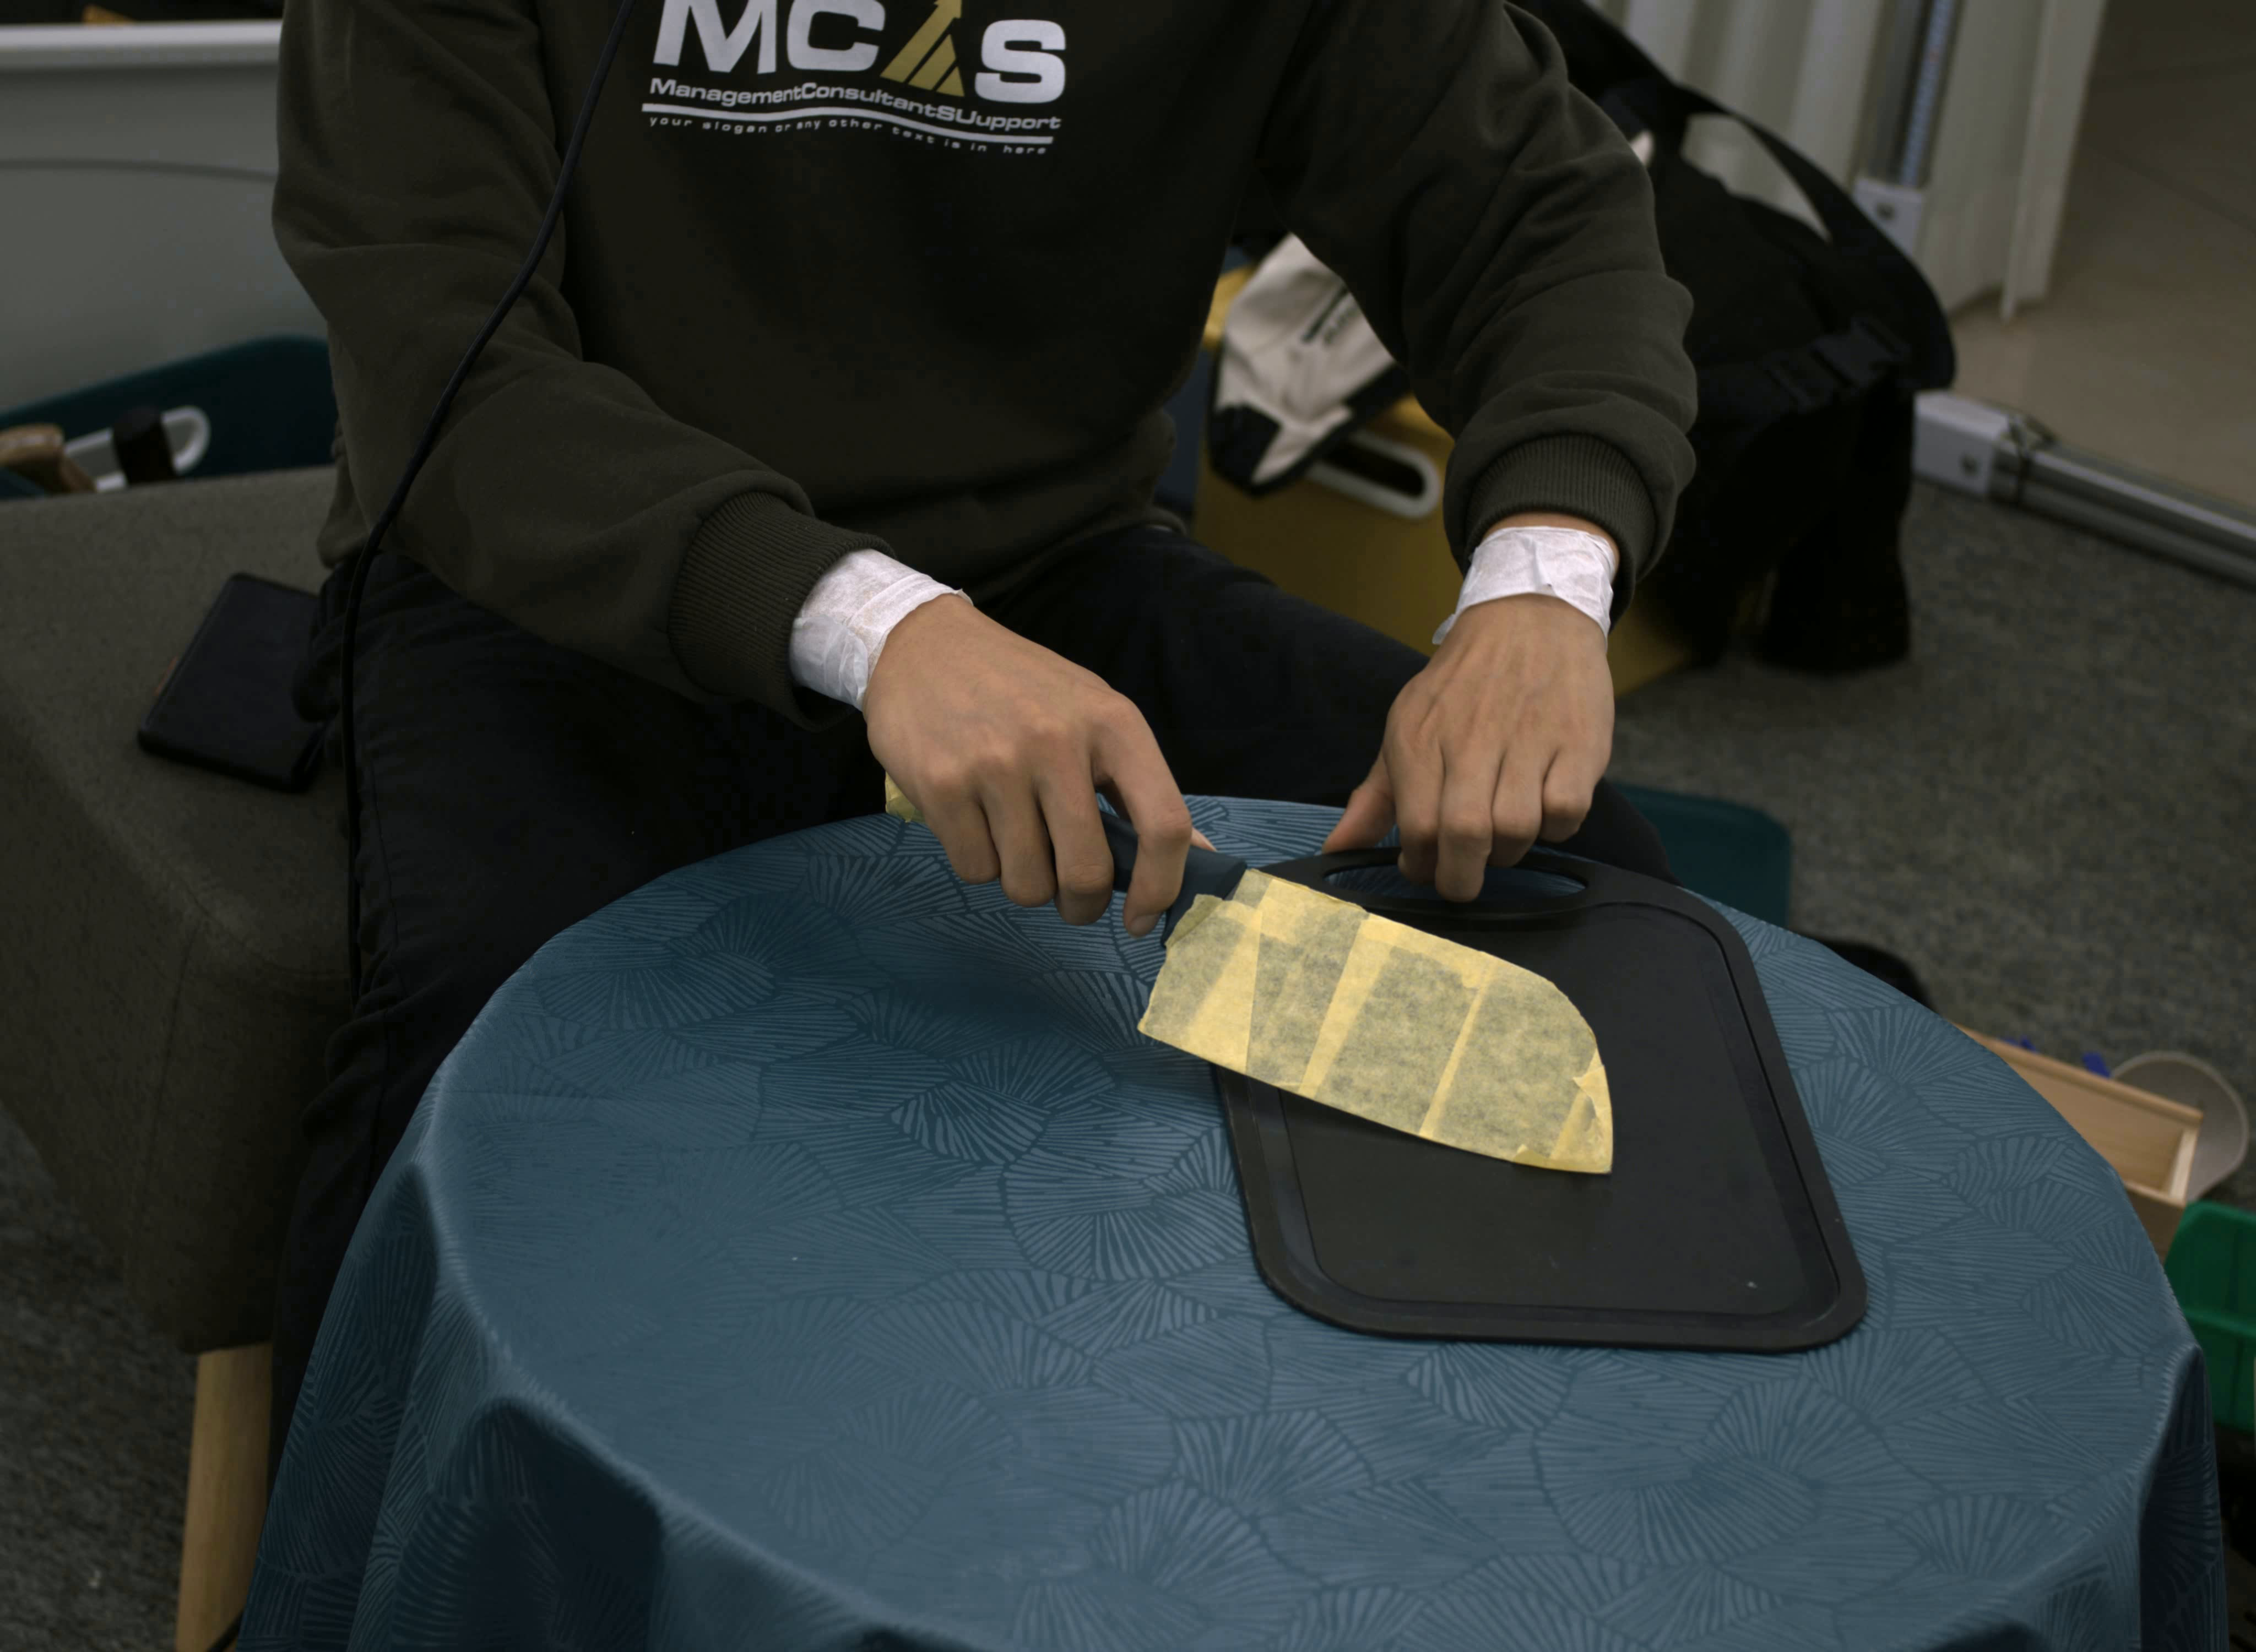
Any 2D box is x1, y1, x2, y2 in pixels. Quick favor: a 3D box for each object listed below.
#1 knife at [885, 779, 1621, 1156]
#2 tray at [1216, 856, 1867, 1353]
[{"bbox_3d":[0.039,0.049,1.875,0.290,0.027,0.081,22,68,14],"label":"knife"},{"bbox_3d":[0.135,0.090,1.885,0.210,0.010,0.328,3,29,-7],"label":"tray"}]
